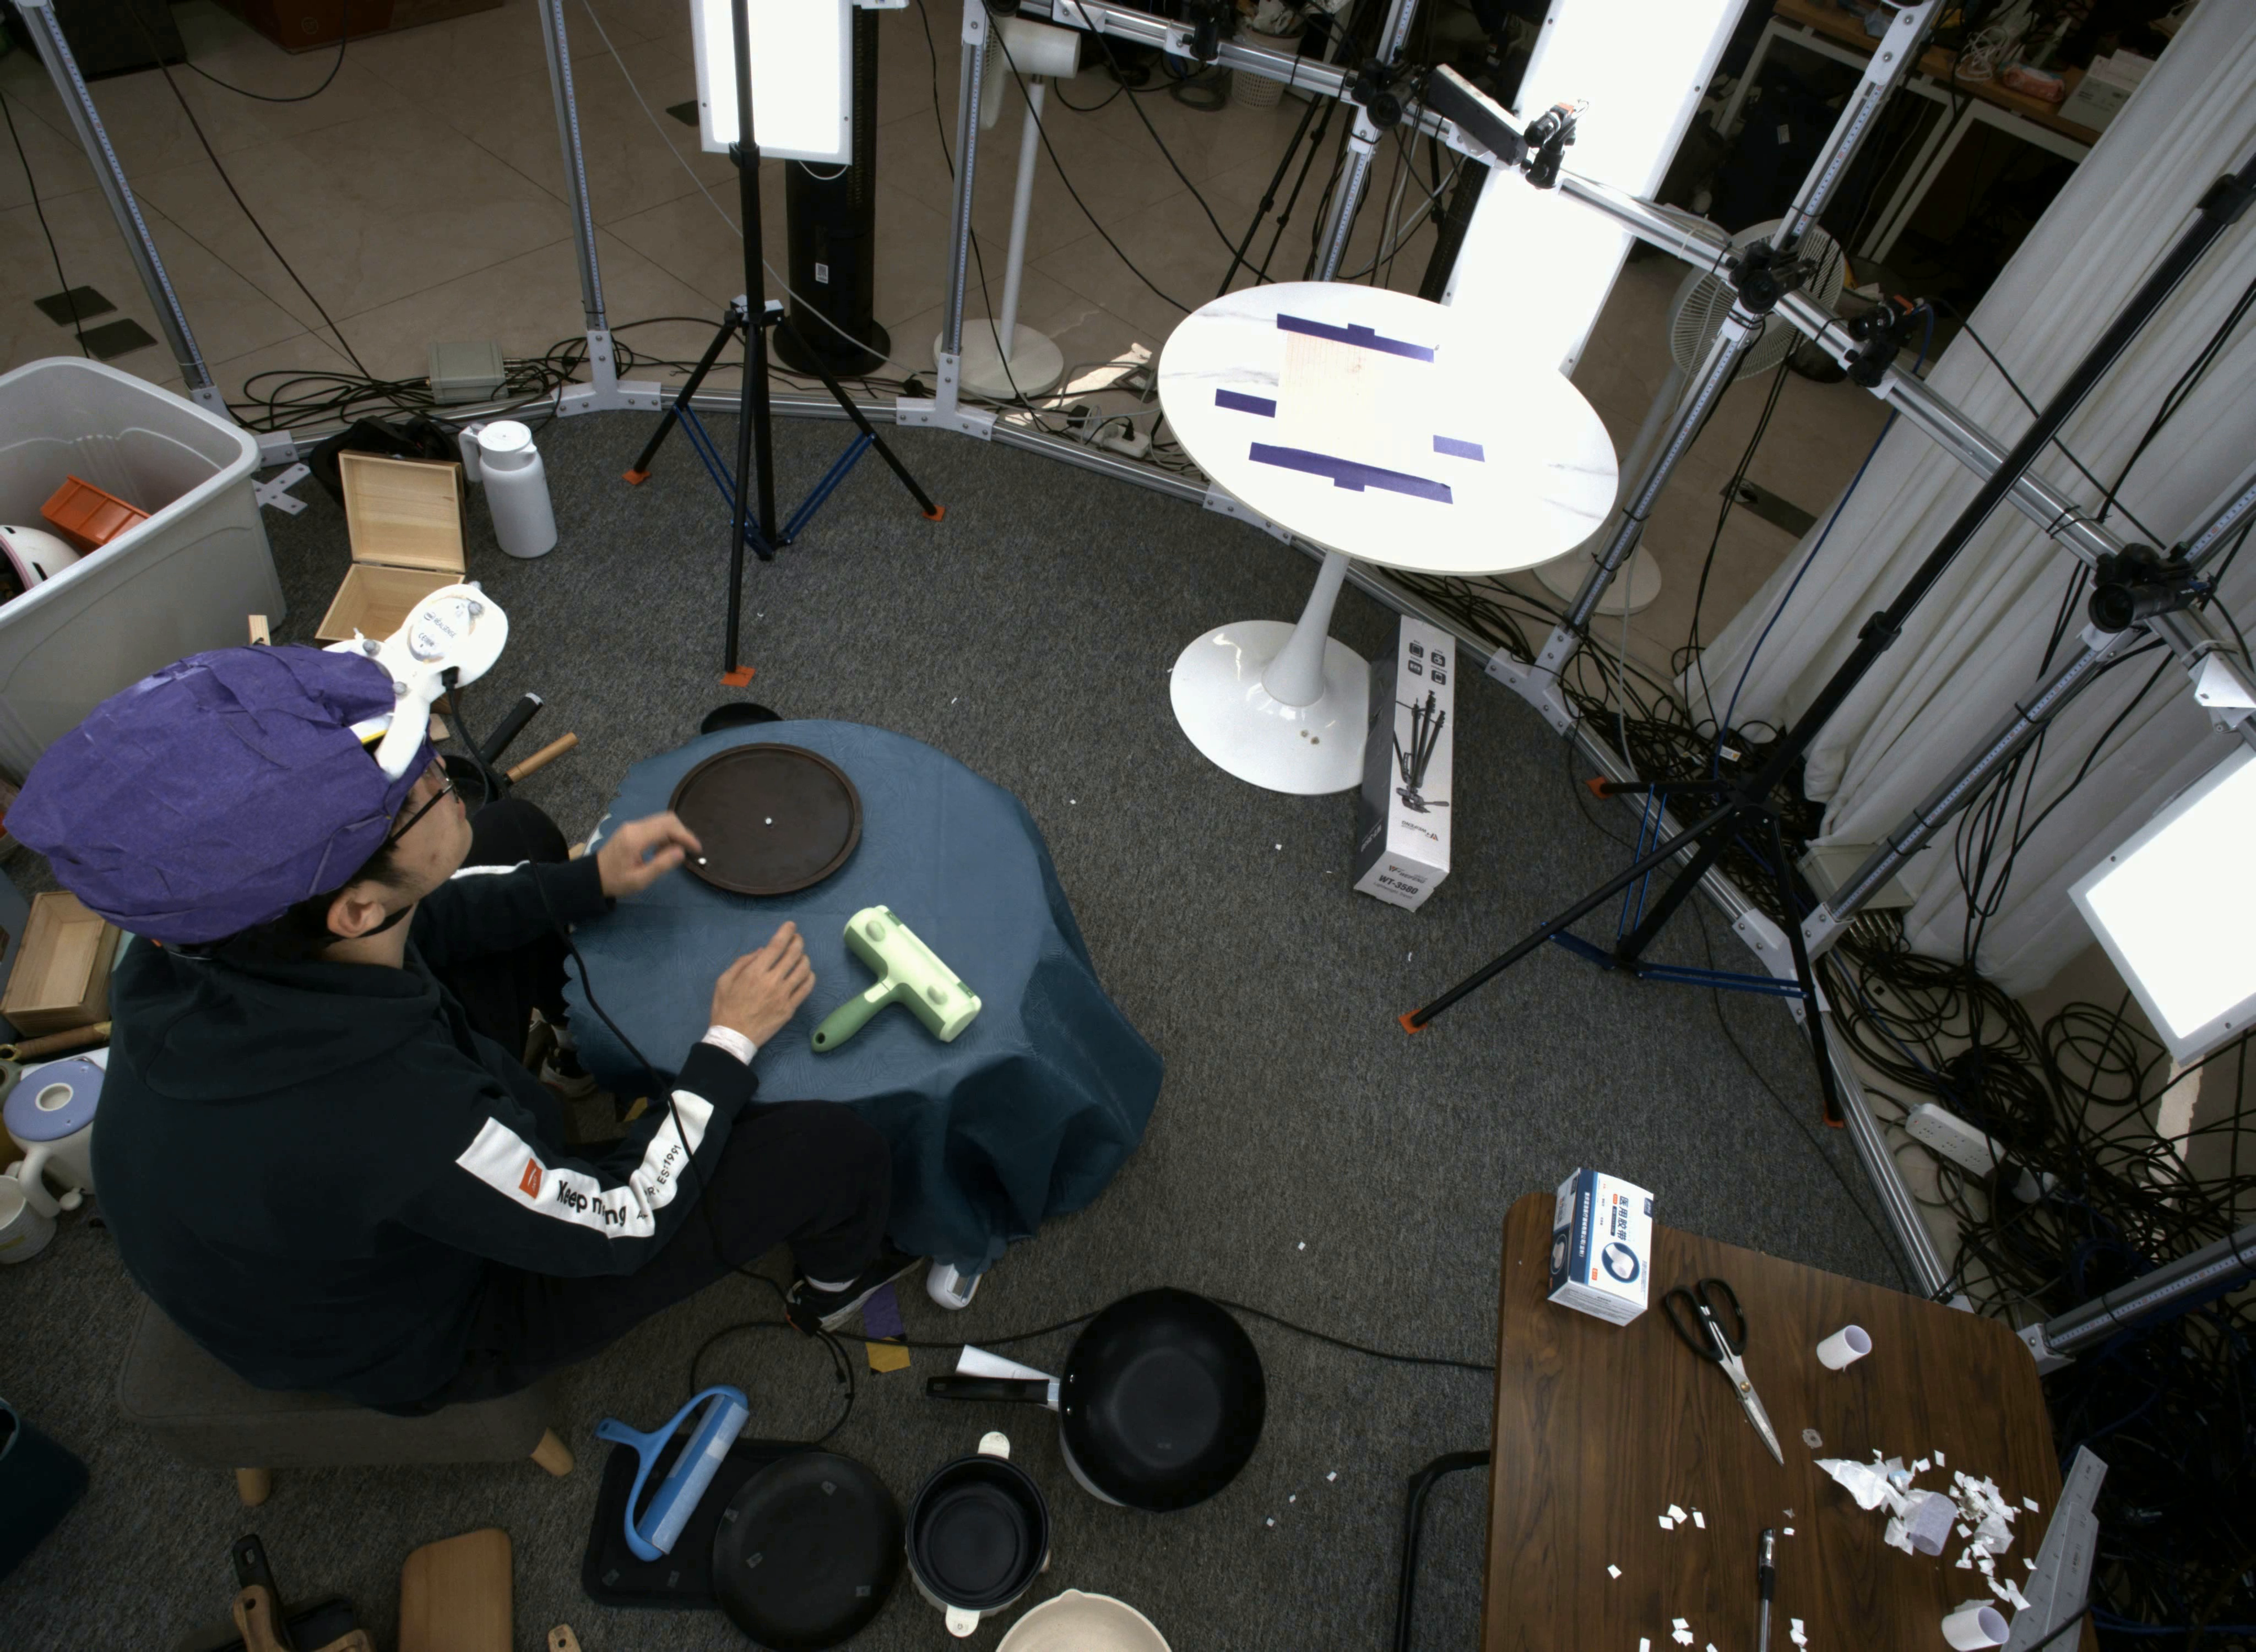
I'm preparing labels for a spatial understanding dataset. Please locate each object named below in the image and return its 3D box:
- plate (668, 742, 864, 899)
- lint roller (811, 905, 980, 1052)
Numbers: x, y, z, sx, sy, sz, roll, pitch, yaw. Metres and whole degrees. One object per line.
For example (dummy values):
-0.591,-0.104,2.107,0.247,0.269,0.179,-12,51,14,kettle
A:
-0.477,-0.010,1.708,0.255,0.029,0.250,9,53,-10,plate
-0.306,0.199,1.563,0.194,0.084,0.184,42,52,17,lint roller
